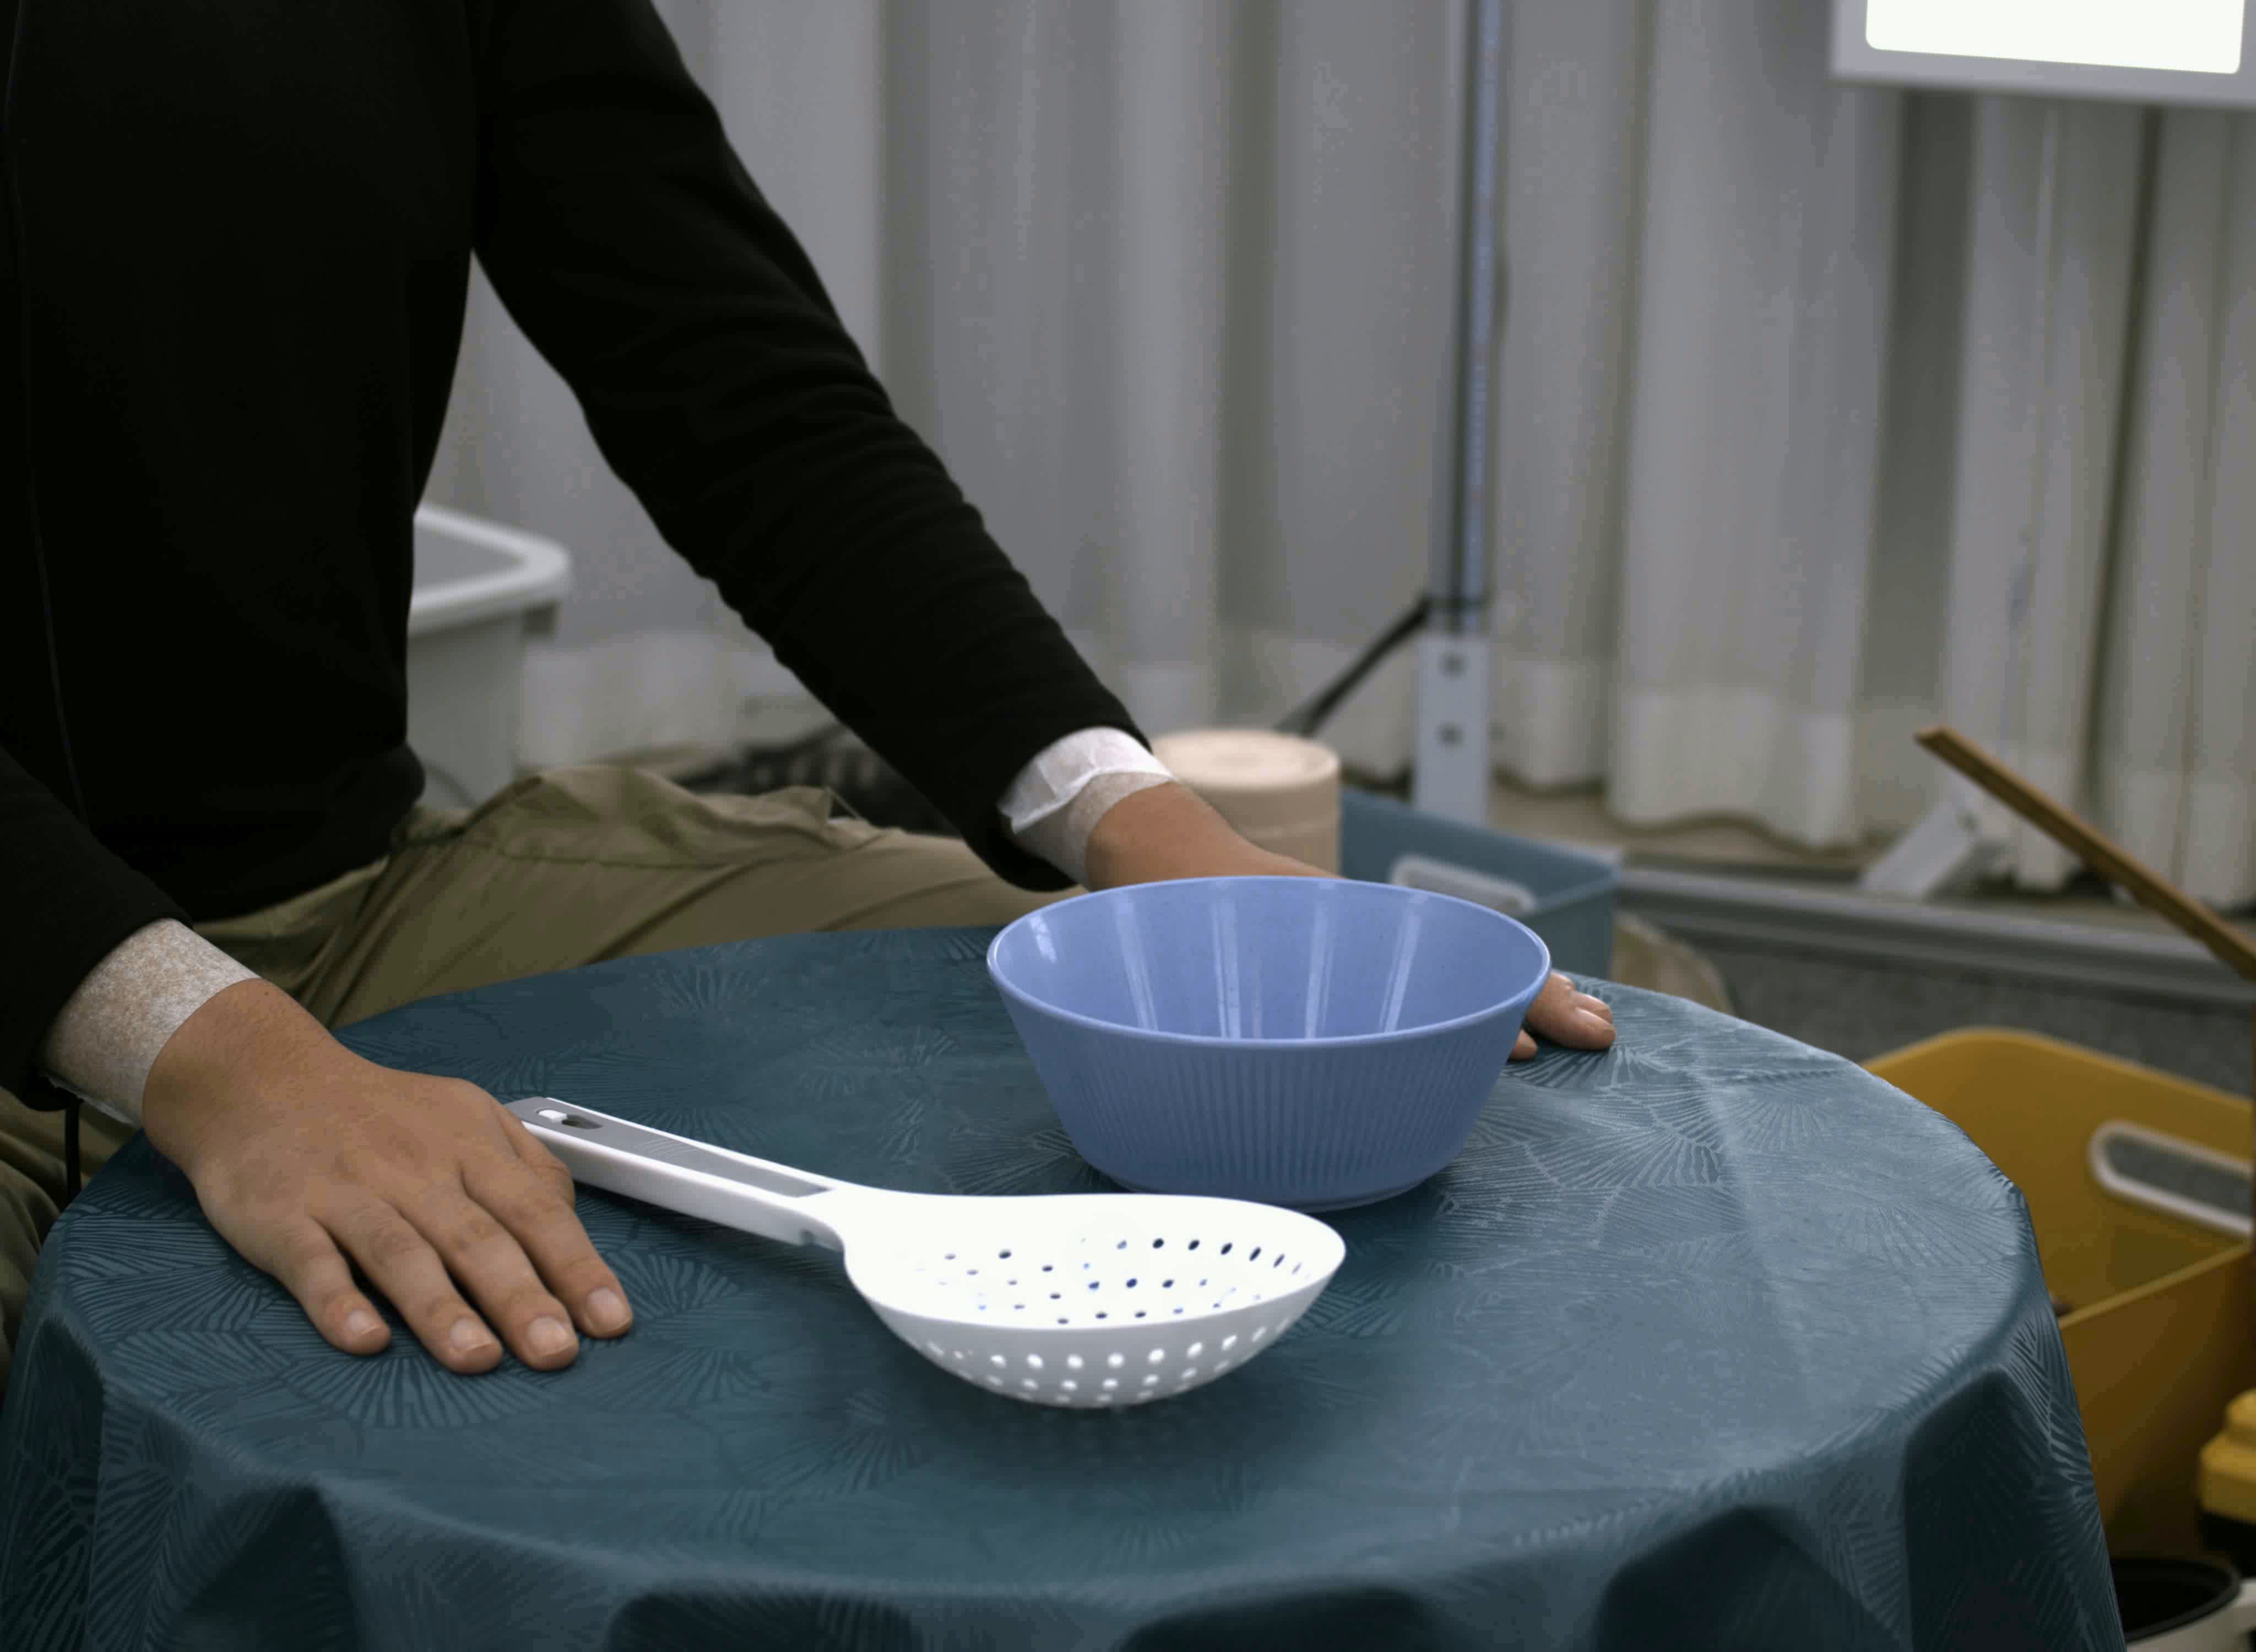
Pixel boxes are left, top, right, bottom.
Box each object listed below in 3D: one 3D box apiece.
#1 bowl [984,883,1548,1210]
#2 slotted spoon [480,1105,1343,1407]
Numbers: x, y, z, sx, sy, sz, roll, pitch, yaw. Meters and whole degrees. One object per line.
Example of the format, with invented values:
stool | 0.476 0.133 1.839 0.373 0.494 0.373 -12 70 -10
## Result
bowl | 0.043 0.070 1.642 0.175 0.071 0.175 0 15 1
slotted spoon | -0.080 0.114 1.526 0.137 0.046 0.345 -14 20 -41
